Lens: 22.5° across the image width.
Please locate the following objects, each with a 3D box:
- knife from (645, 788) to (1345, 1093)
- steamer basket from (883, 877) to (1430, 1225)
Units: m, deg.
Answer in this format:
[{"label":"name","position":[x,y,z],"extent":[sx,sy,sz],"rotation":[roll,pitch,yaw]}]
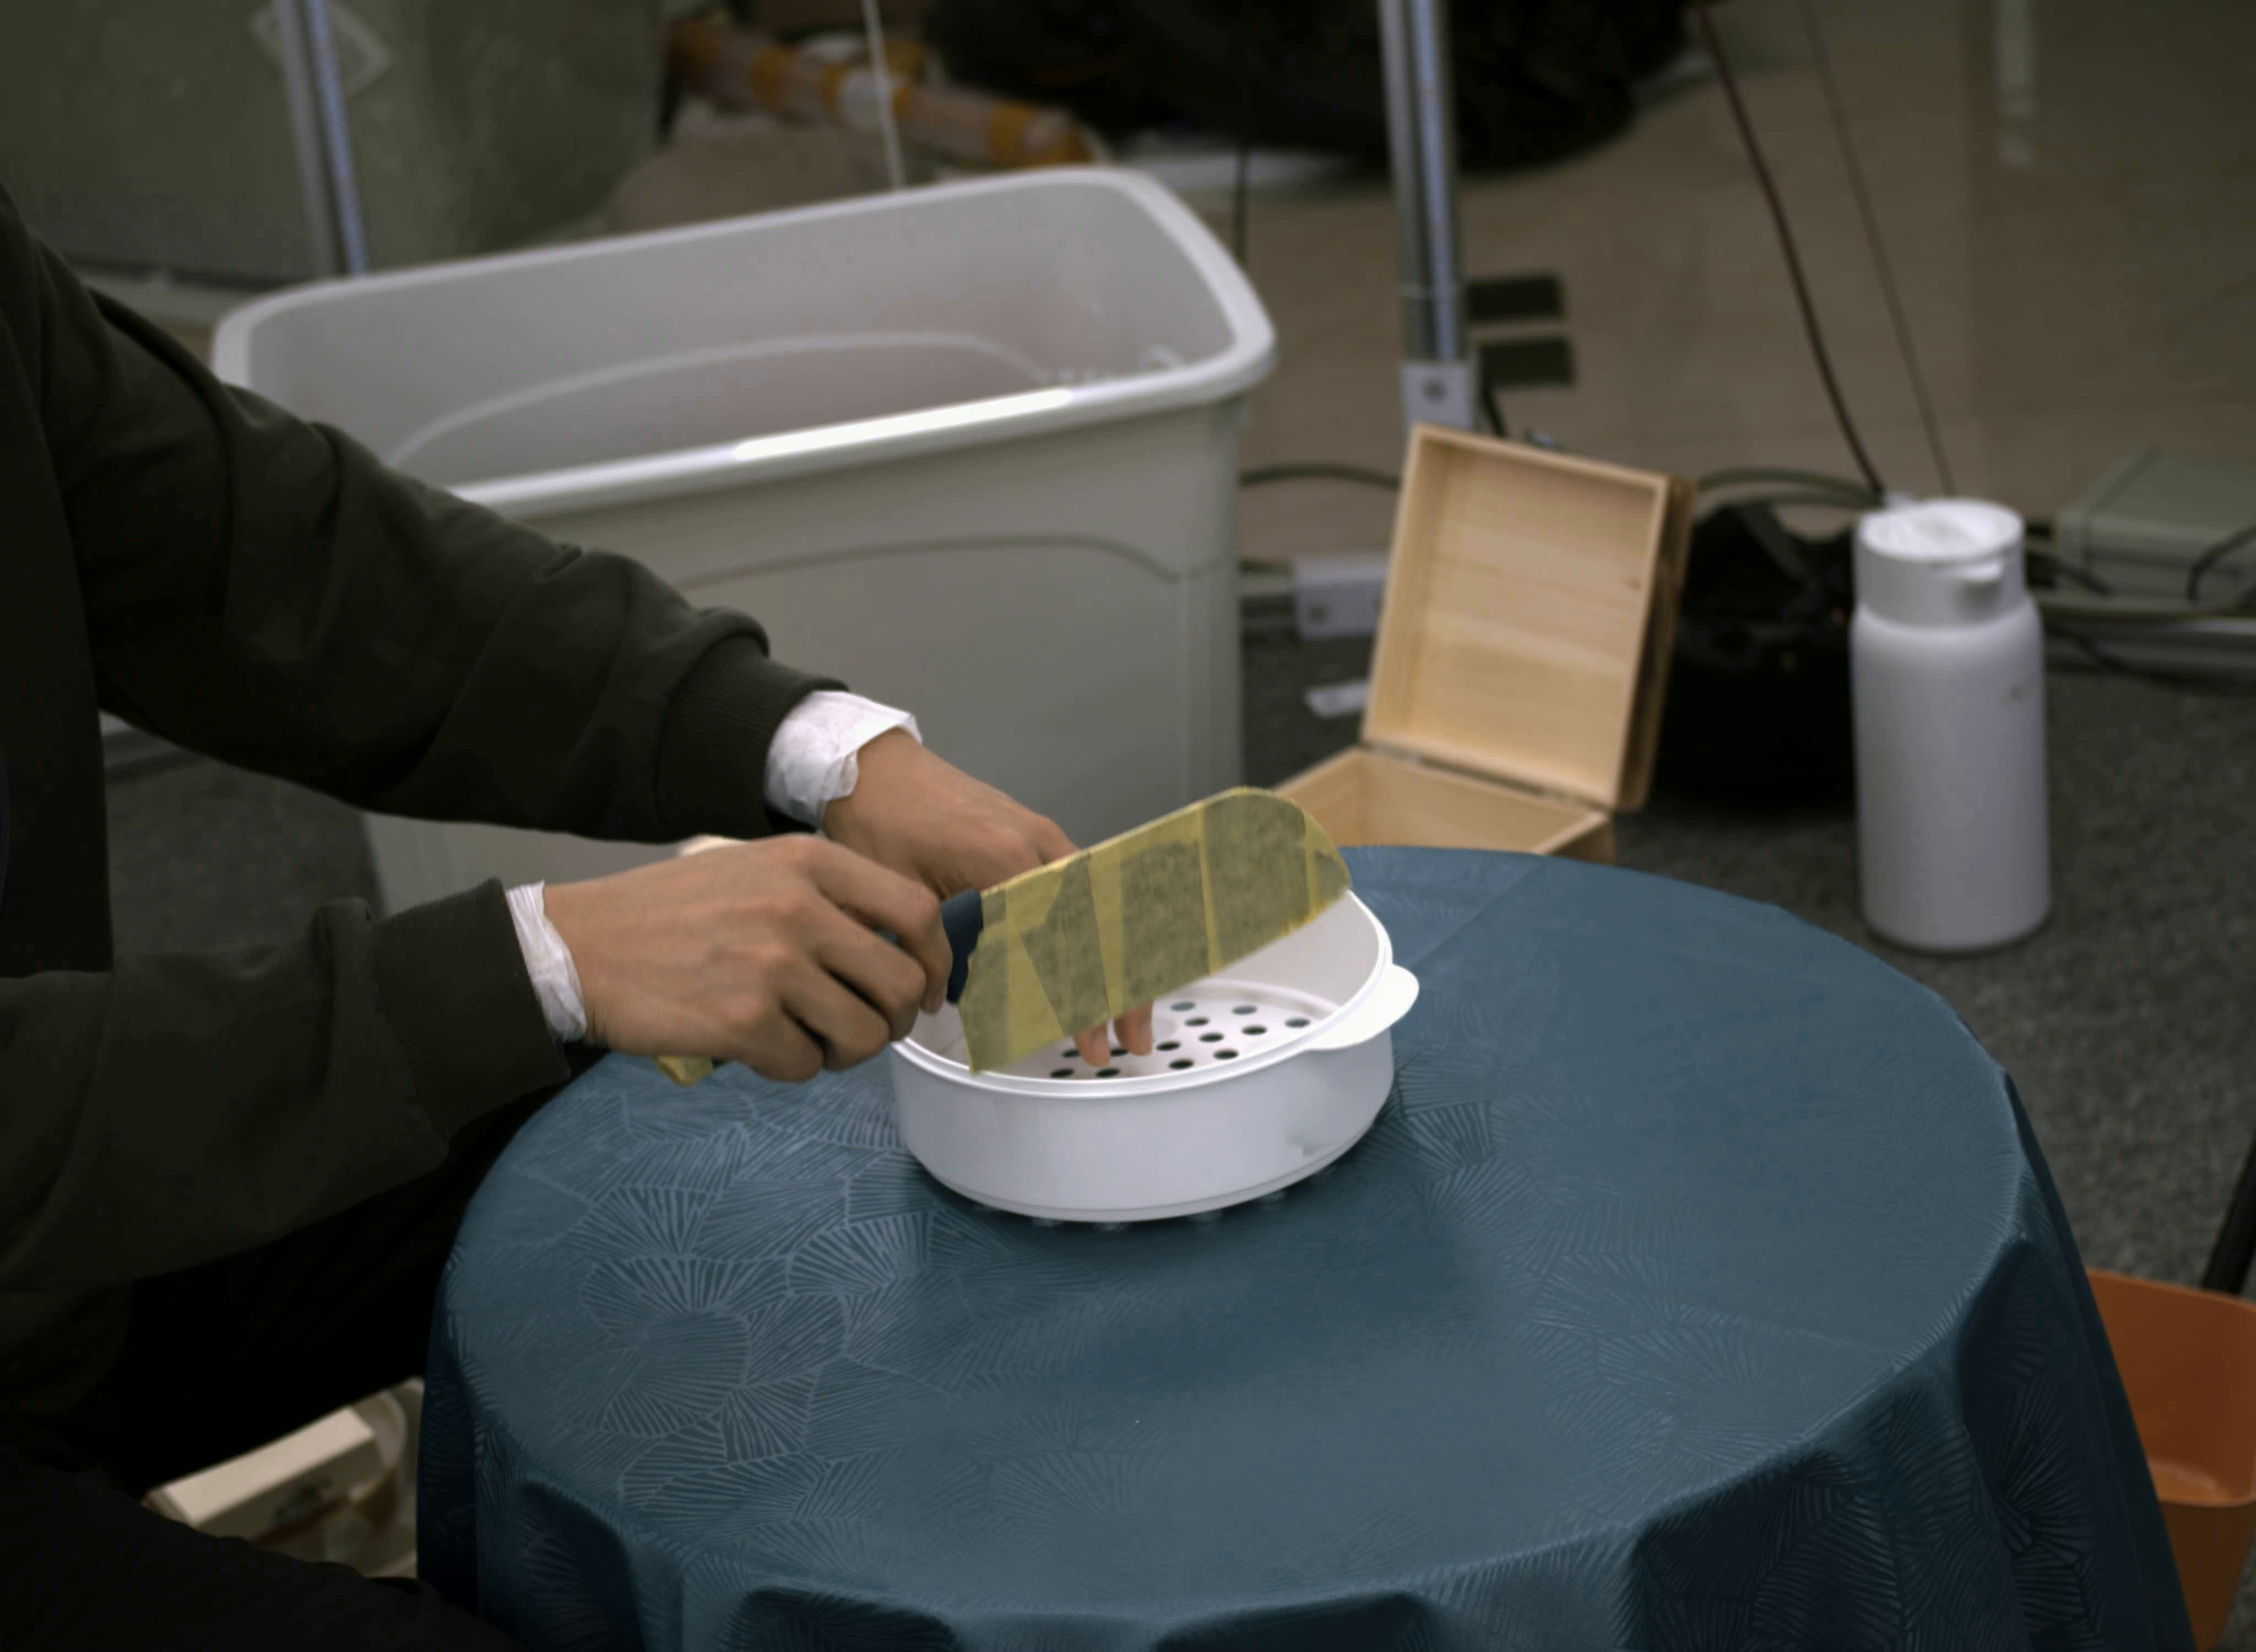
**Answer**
[{"label":"knife","position":[-0.042,0.051,2.041],"extent":[0.288,0.082,0.027],"rotation":[-18,30,-25]},{"label":"steamer basket","position":[0.009,0.084,2.187],"extent":[0.229,0.070,0.199],"rotation":[6,27,29]}]
